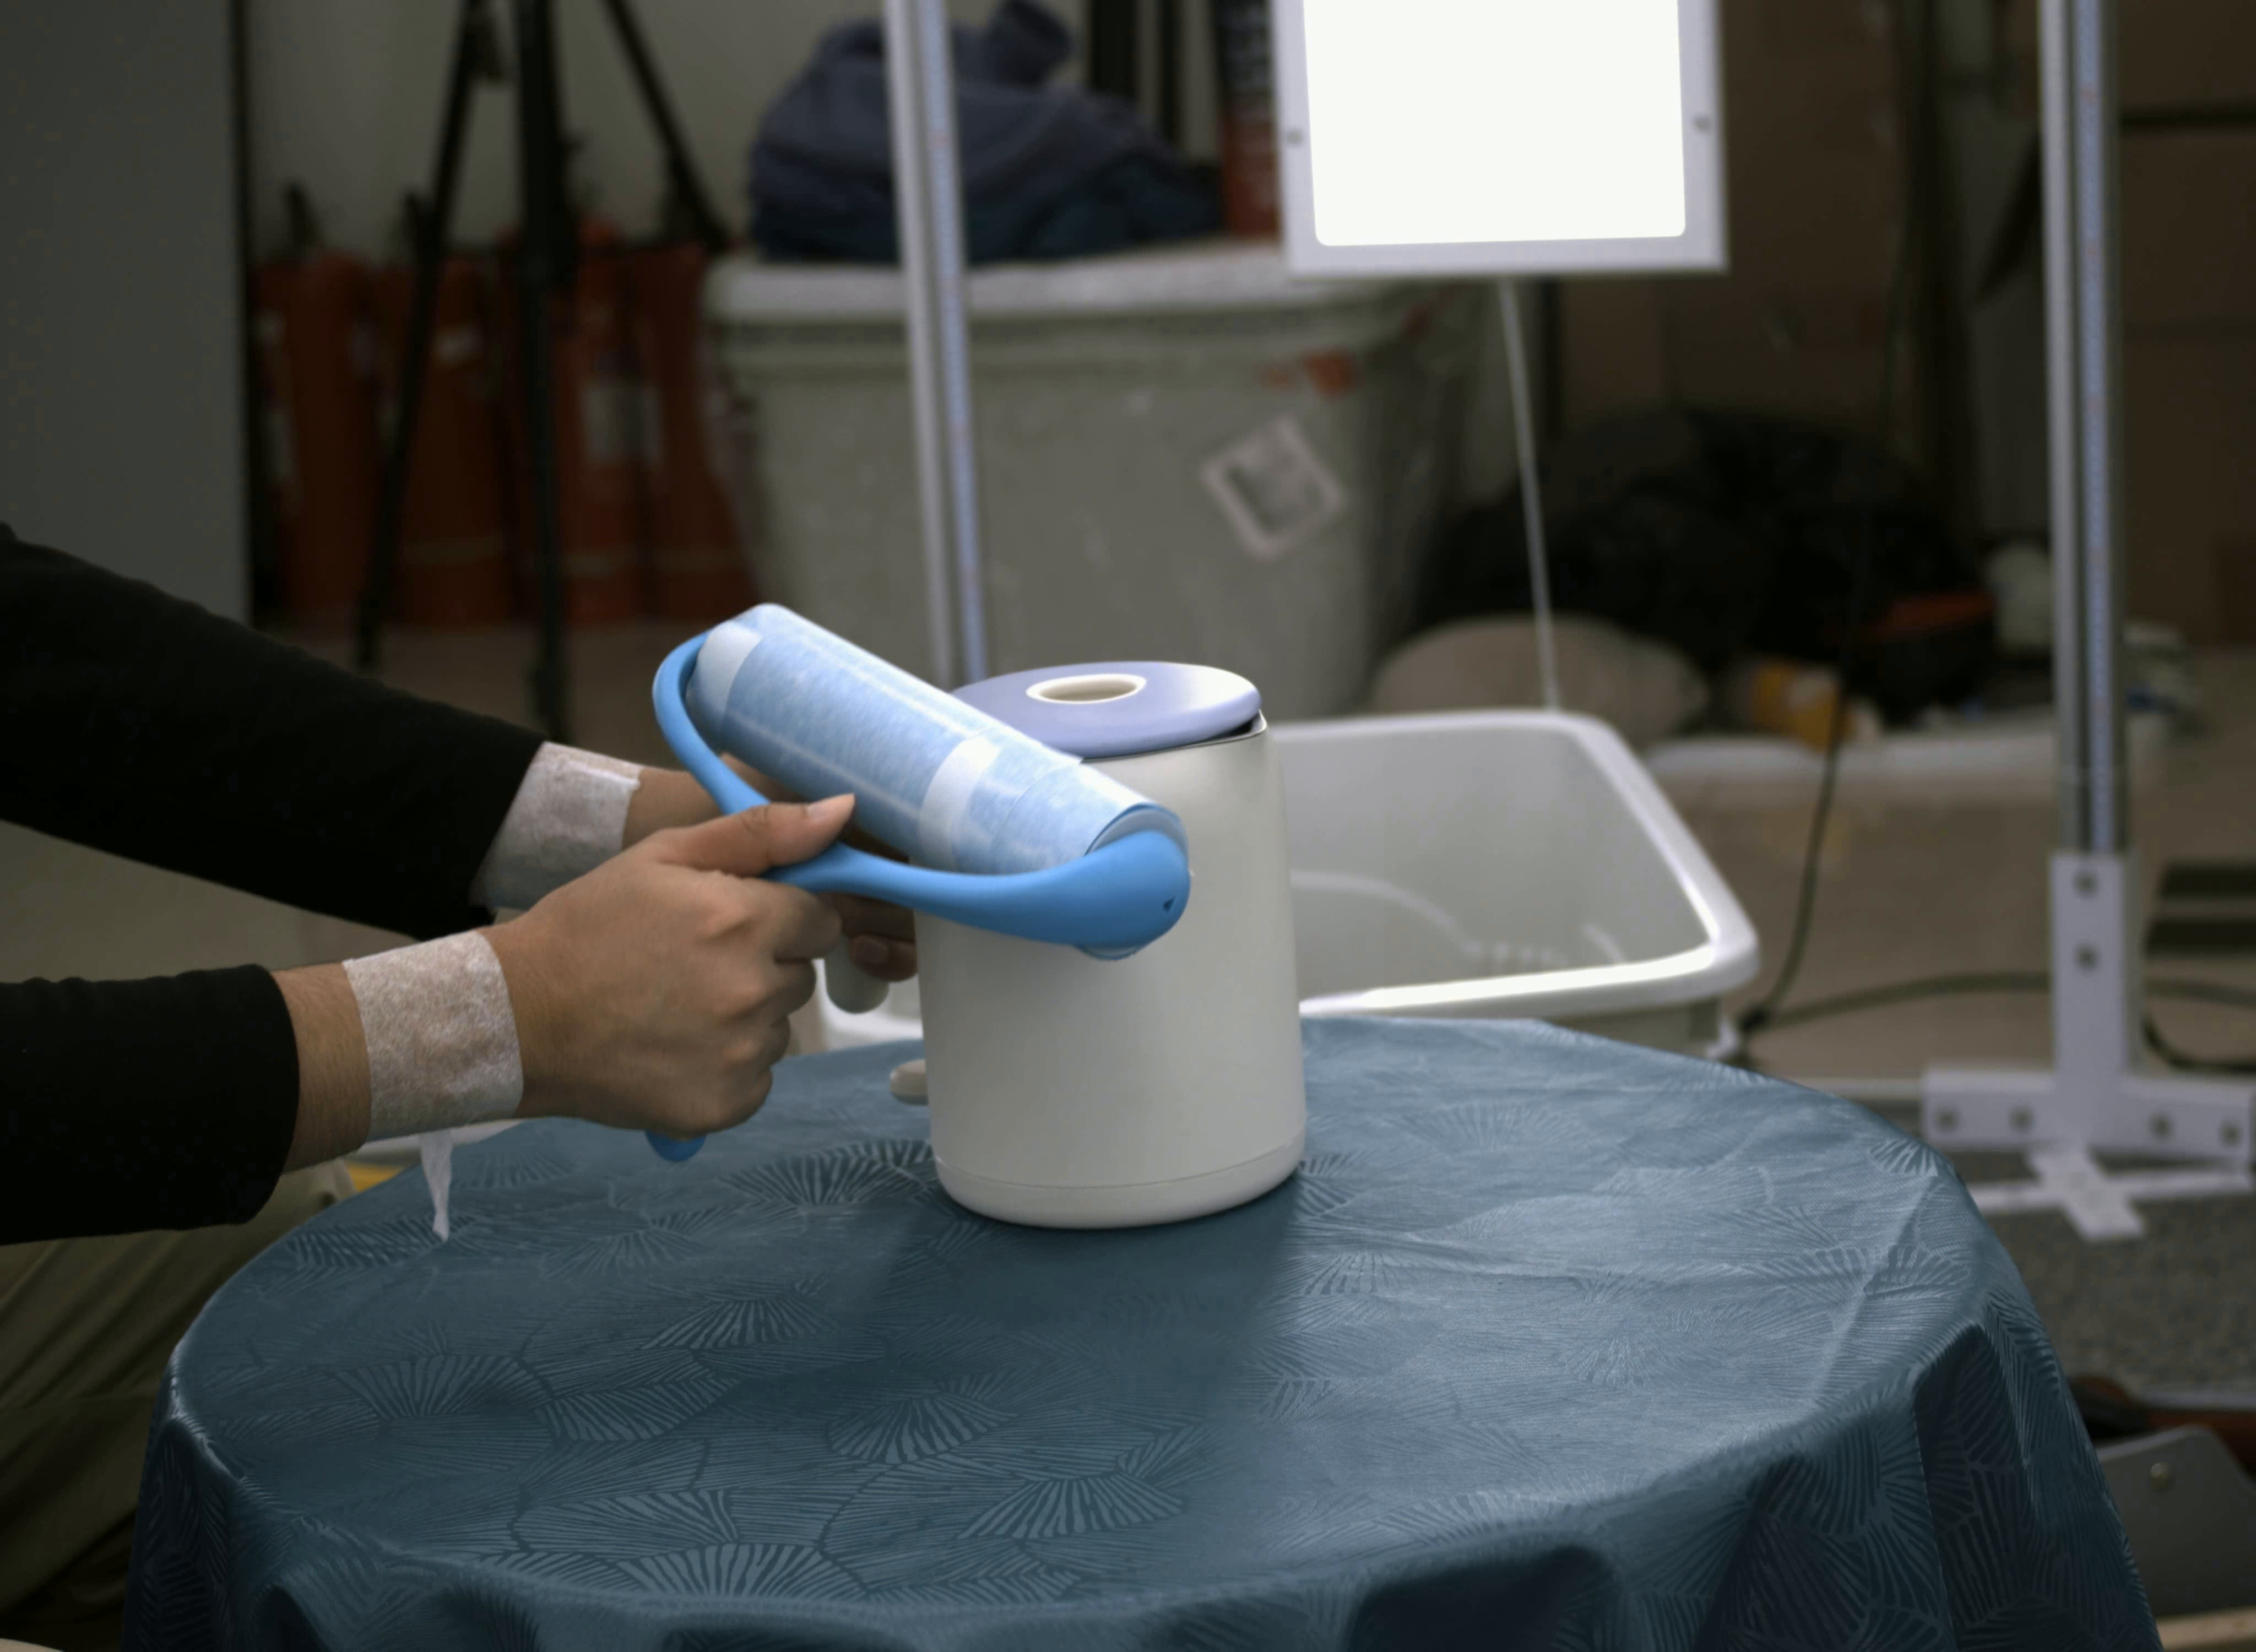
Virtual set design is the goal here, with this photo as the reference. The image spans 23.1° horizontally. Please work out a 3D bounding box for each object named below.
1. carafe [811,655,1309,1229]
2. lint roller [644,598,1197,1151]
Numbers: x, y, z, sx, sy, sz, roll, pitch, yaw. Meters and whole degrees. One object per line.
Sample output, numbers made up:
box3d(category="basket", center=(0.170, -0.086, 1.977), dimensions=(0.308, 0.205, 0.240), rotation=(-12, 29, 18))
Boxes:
box3d(category="carafe", center=(-0.028, 0.038, 1.908), dimensions=(0.195, 0.183, 0.129), rotation=(2, 15, 33))
box3d(category="lint roller", center=(-0.100, 0.024, 1.794), dimensions=(0.233, 0.067, 0.178), rotation=(27, 68, 39))
